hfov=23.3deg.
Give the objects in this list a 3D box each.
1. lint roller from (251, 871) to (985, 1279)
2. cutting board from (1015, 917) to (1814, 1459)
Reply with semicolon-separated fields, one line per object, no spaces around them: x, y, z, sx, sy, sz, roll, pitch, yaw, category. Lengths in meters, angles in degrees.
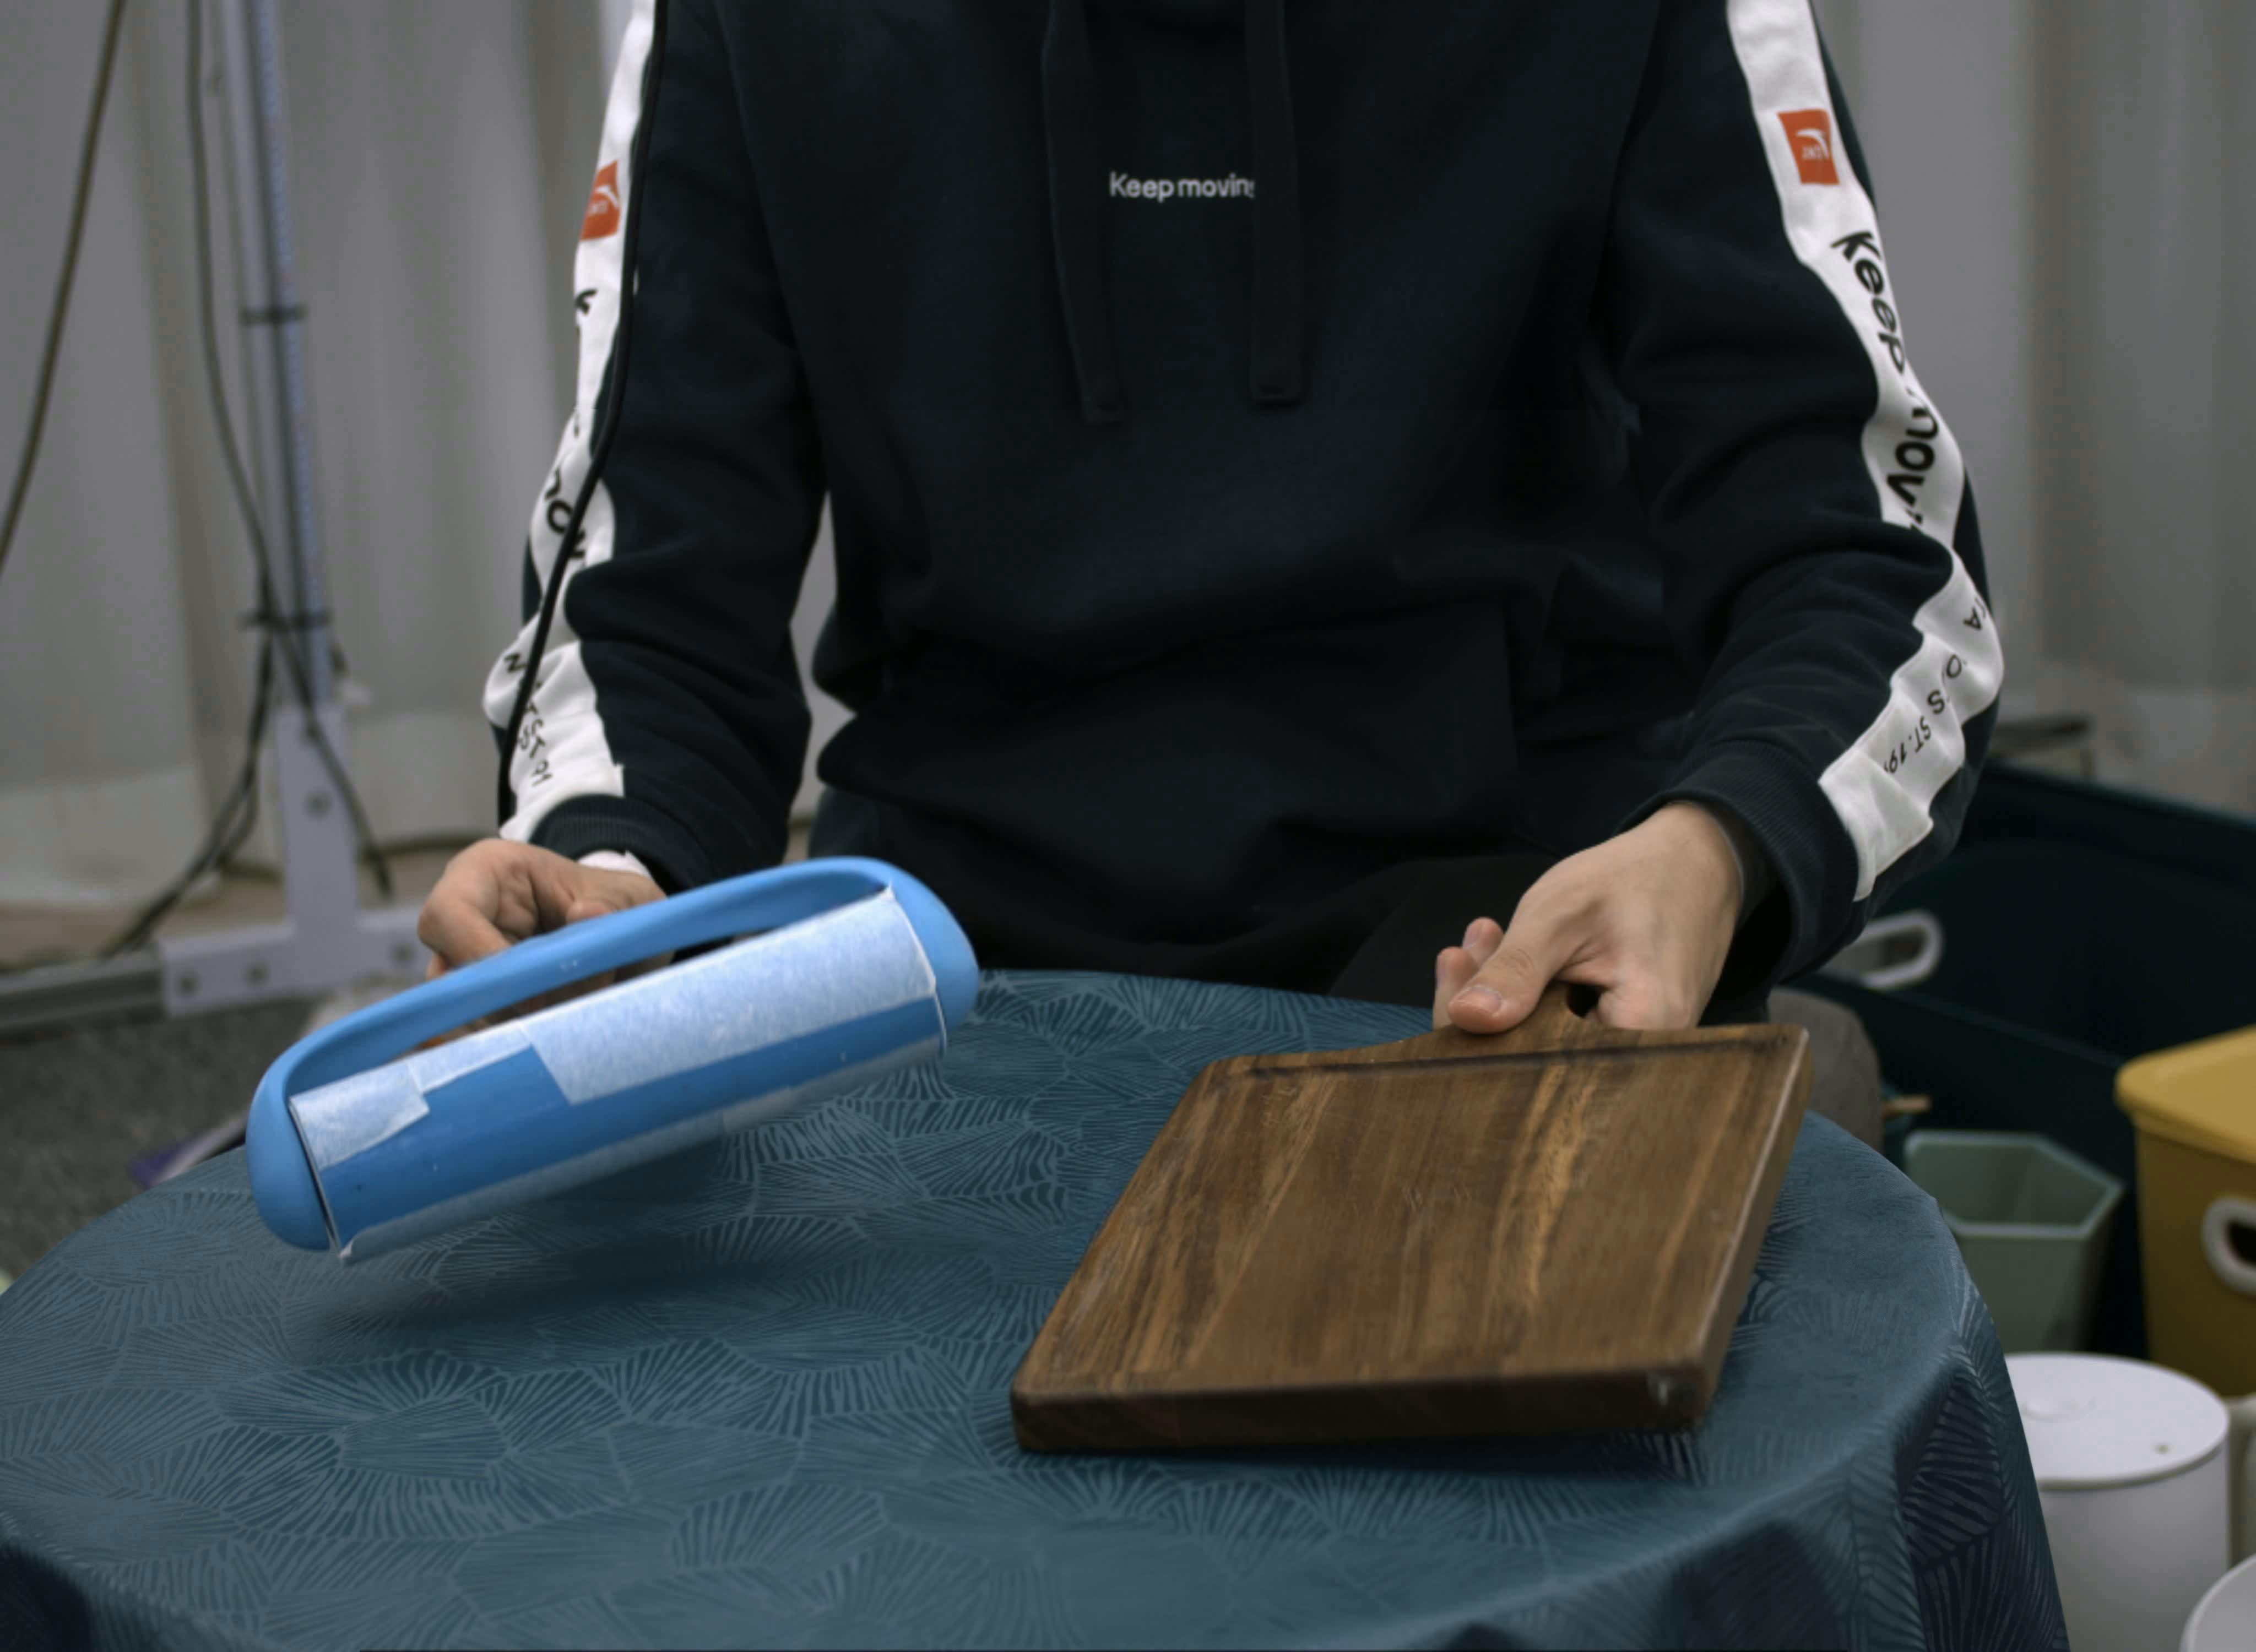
-0.170;0.067;1.697;0.228;0.067;0.181;-21;17;-14;lint roller
0.100;0.100;1.629;0.201;0.023;0.354;-3;20;15;cutting board
